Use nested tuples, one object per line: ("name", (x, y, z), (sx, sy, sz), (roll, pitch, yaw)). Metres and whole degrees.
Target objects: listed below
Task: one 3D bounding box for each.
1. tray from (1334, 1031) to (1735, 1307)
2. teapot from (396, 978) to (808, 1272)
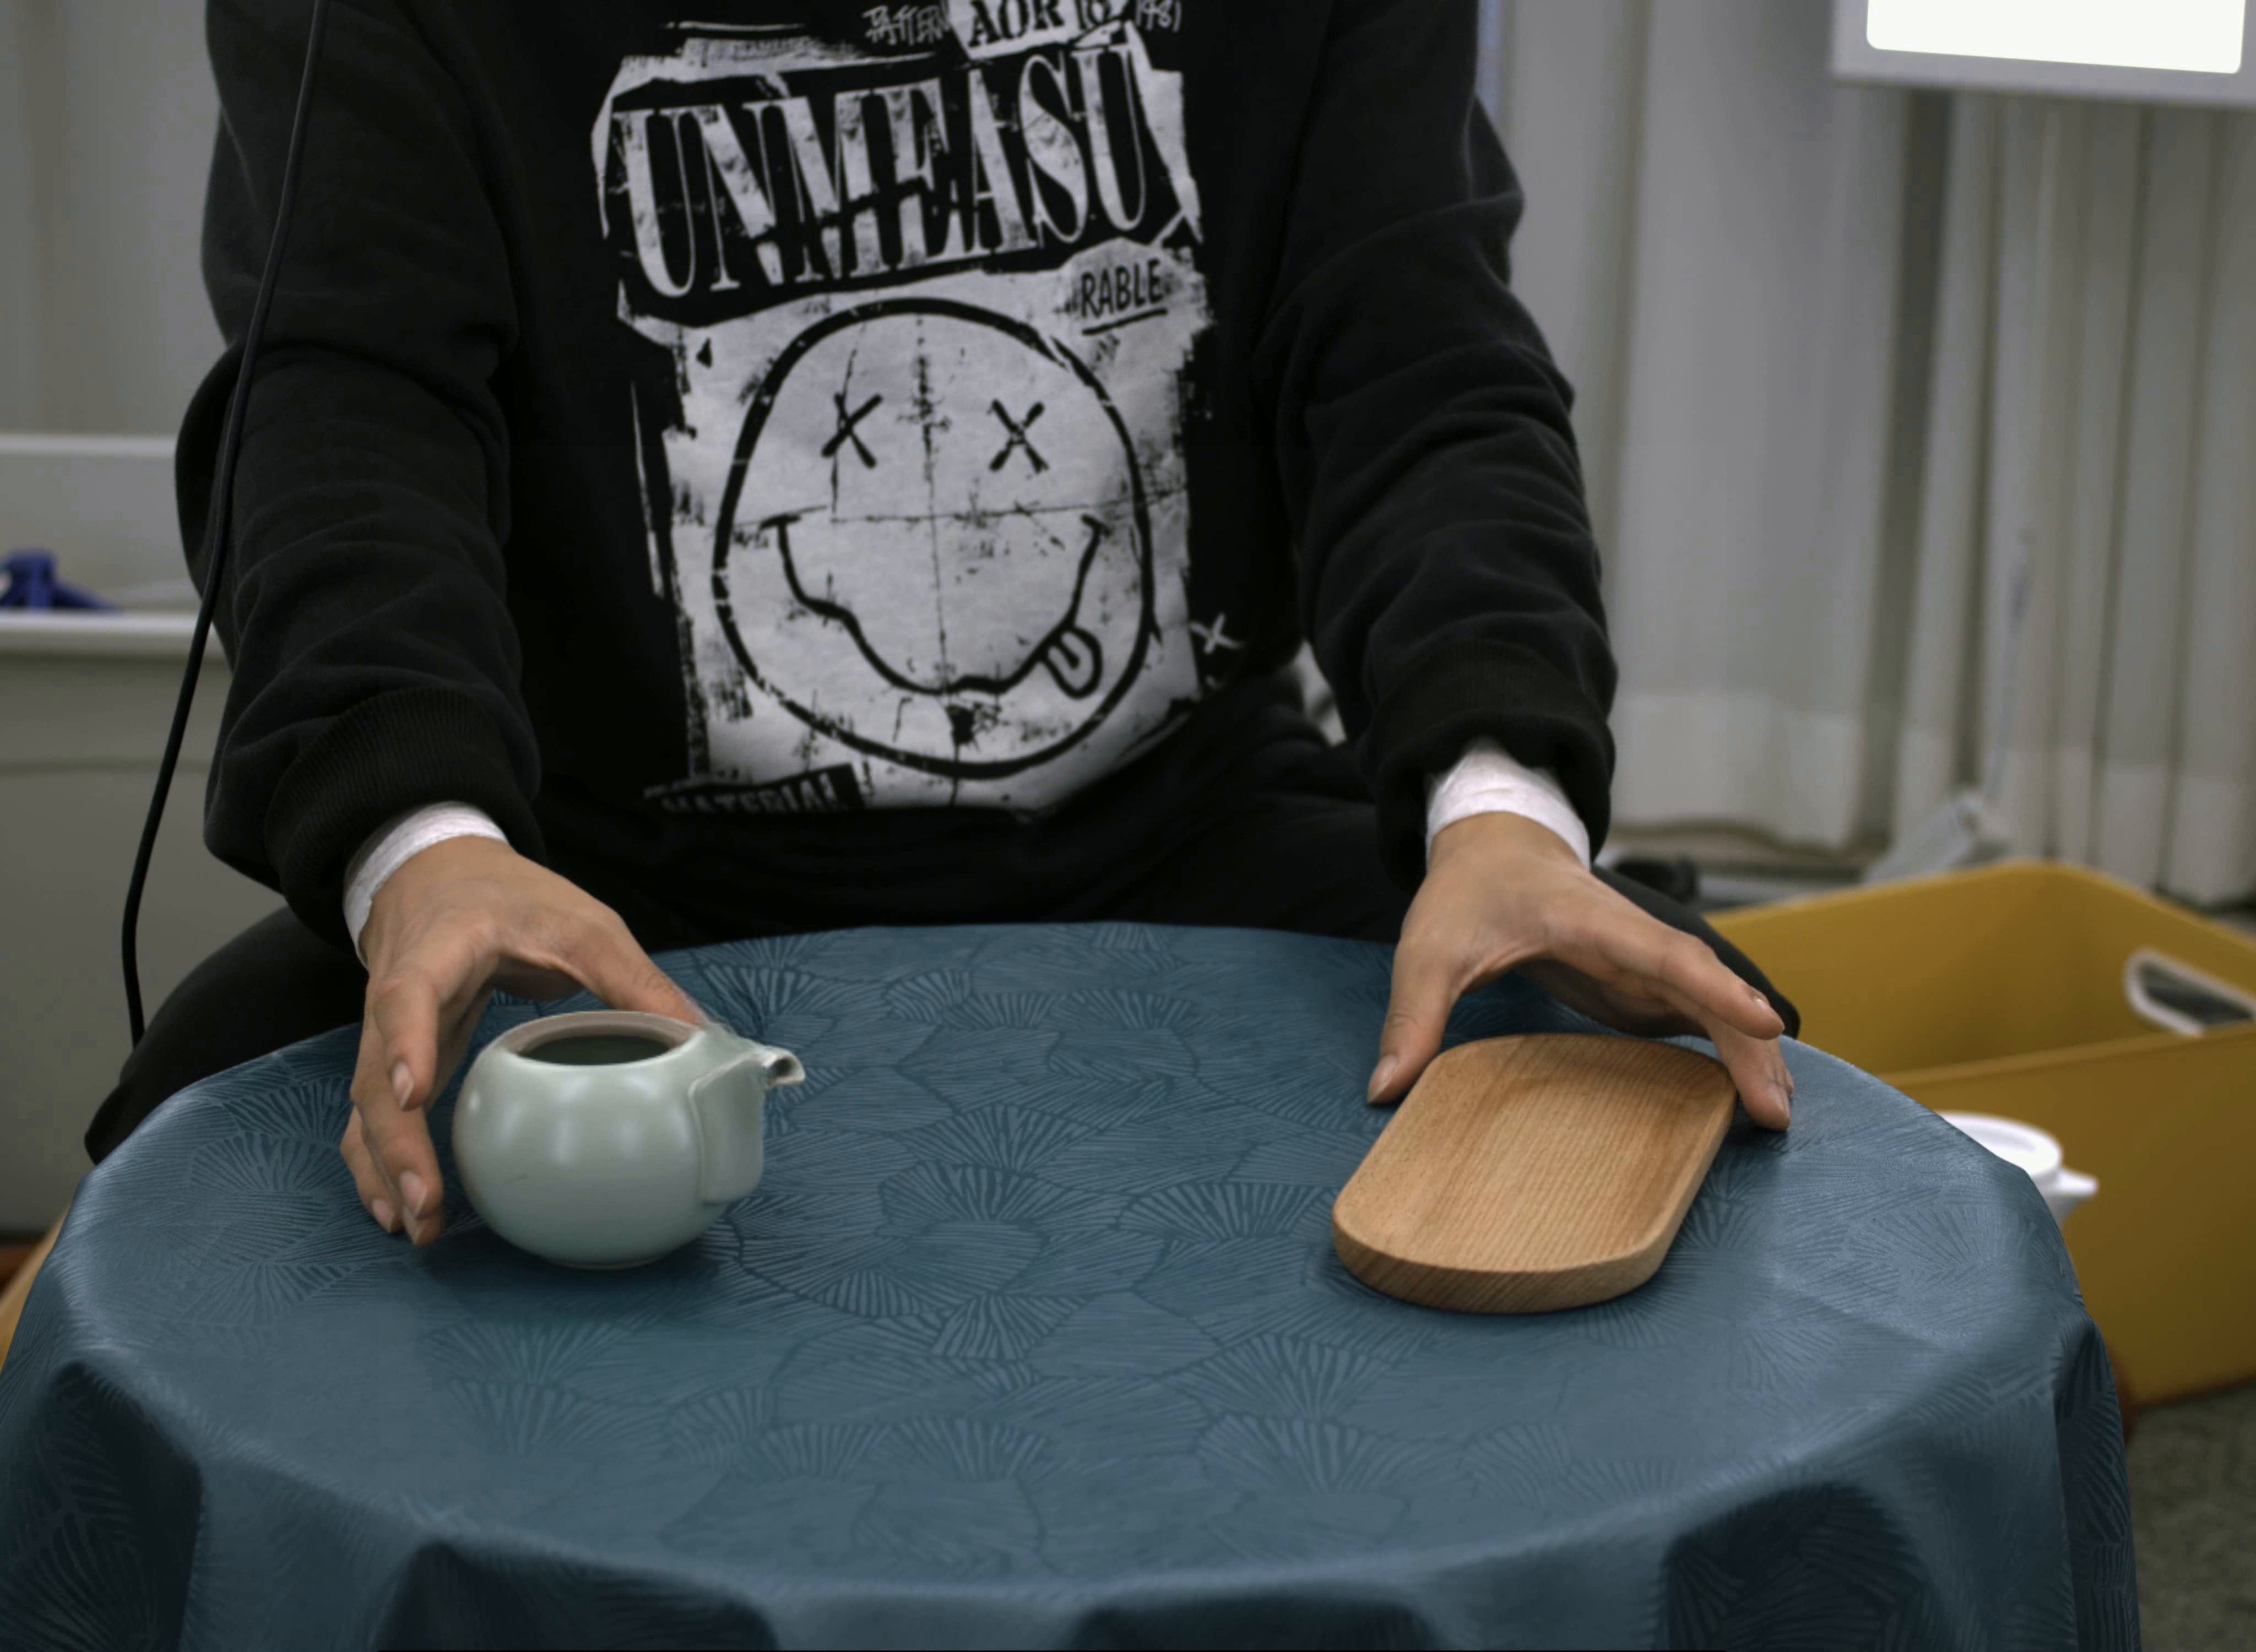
("tray", (0.128, 0.104, 1.629), (0.101, 0.020, 0.231), (6, 15, 13))
("teapot", (-0.156, 0.091, 1.560), (0.142, 0.075, 0.088), (11, 19, 29))
